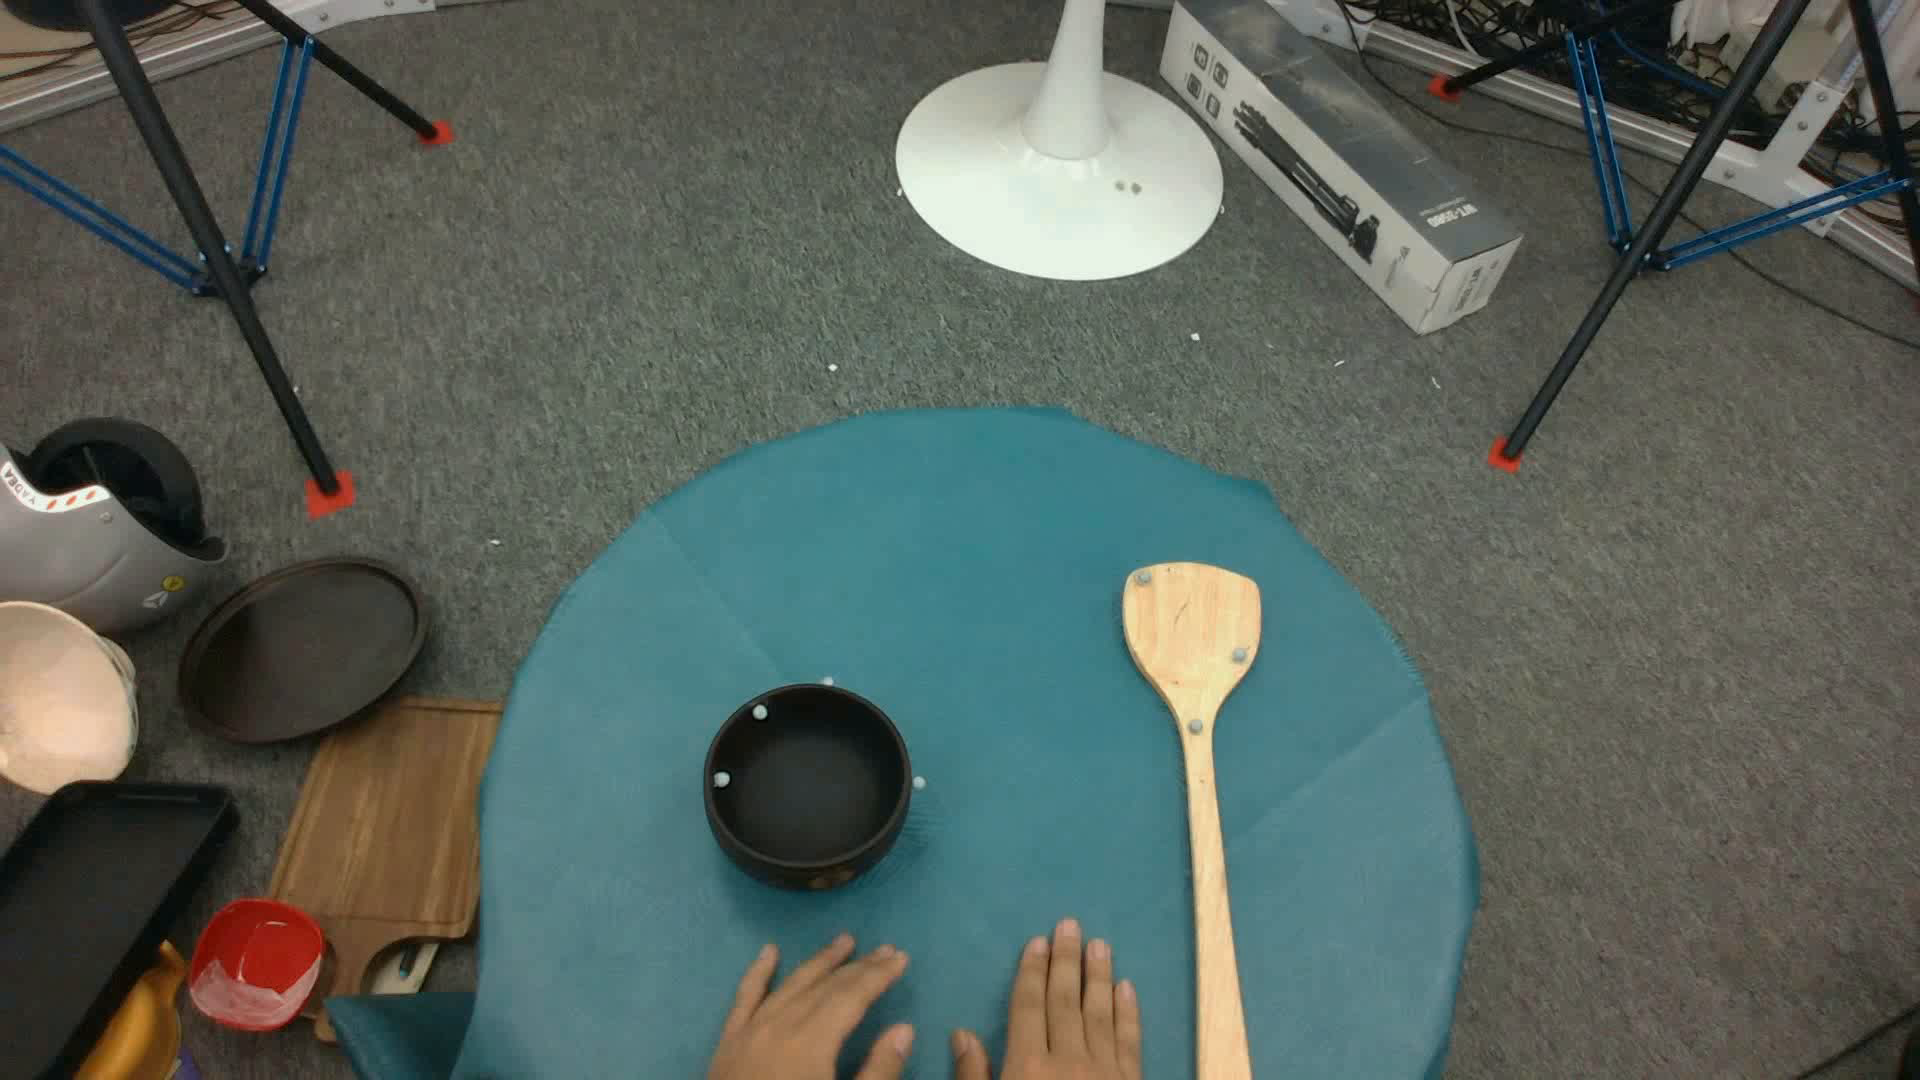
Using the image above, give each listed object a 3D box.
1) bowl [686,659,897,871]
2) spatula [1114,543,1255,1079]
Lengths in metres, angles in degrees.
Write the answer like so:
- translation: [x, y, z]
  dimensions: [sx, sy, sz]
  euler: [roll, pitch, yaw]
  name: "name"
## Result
- translation: [-0.096, 0.135, 0.791]
  dimensions: [0.118, 0.069, 0.118]
  euler: [3, 57, -4]
  name: "bowl"
- translation: [0.145, 0.165, 0.831]
  dimensions: [0.096, 0.018, 0.392]
  euler: [4, 54, -2]
  name: "spatula"
